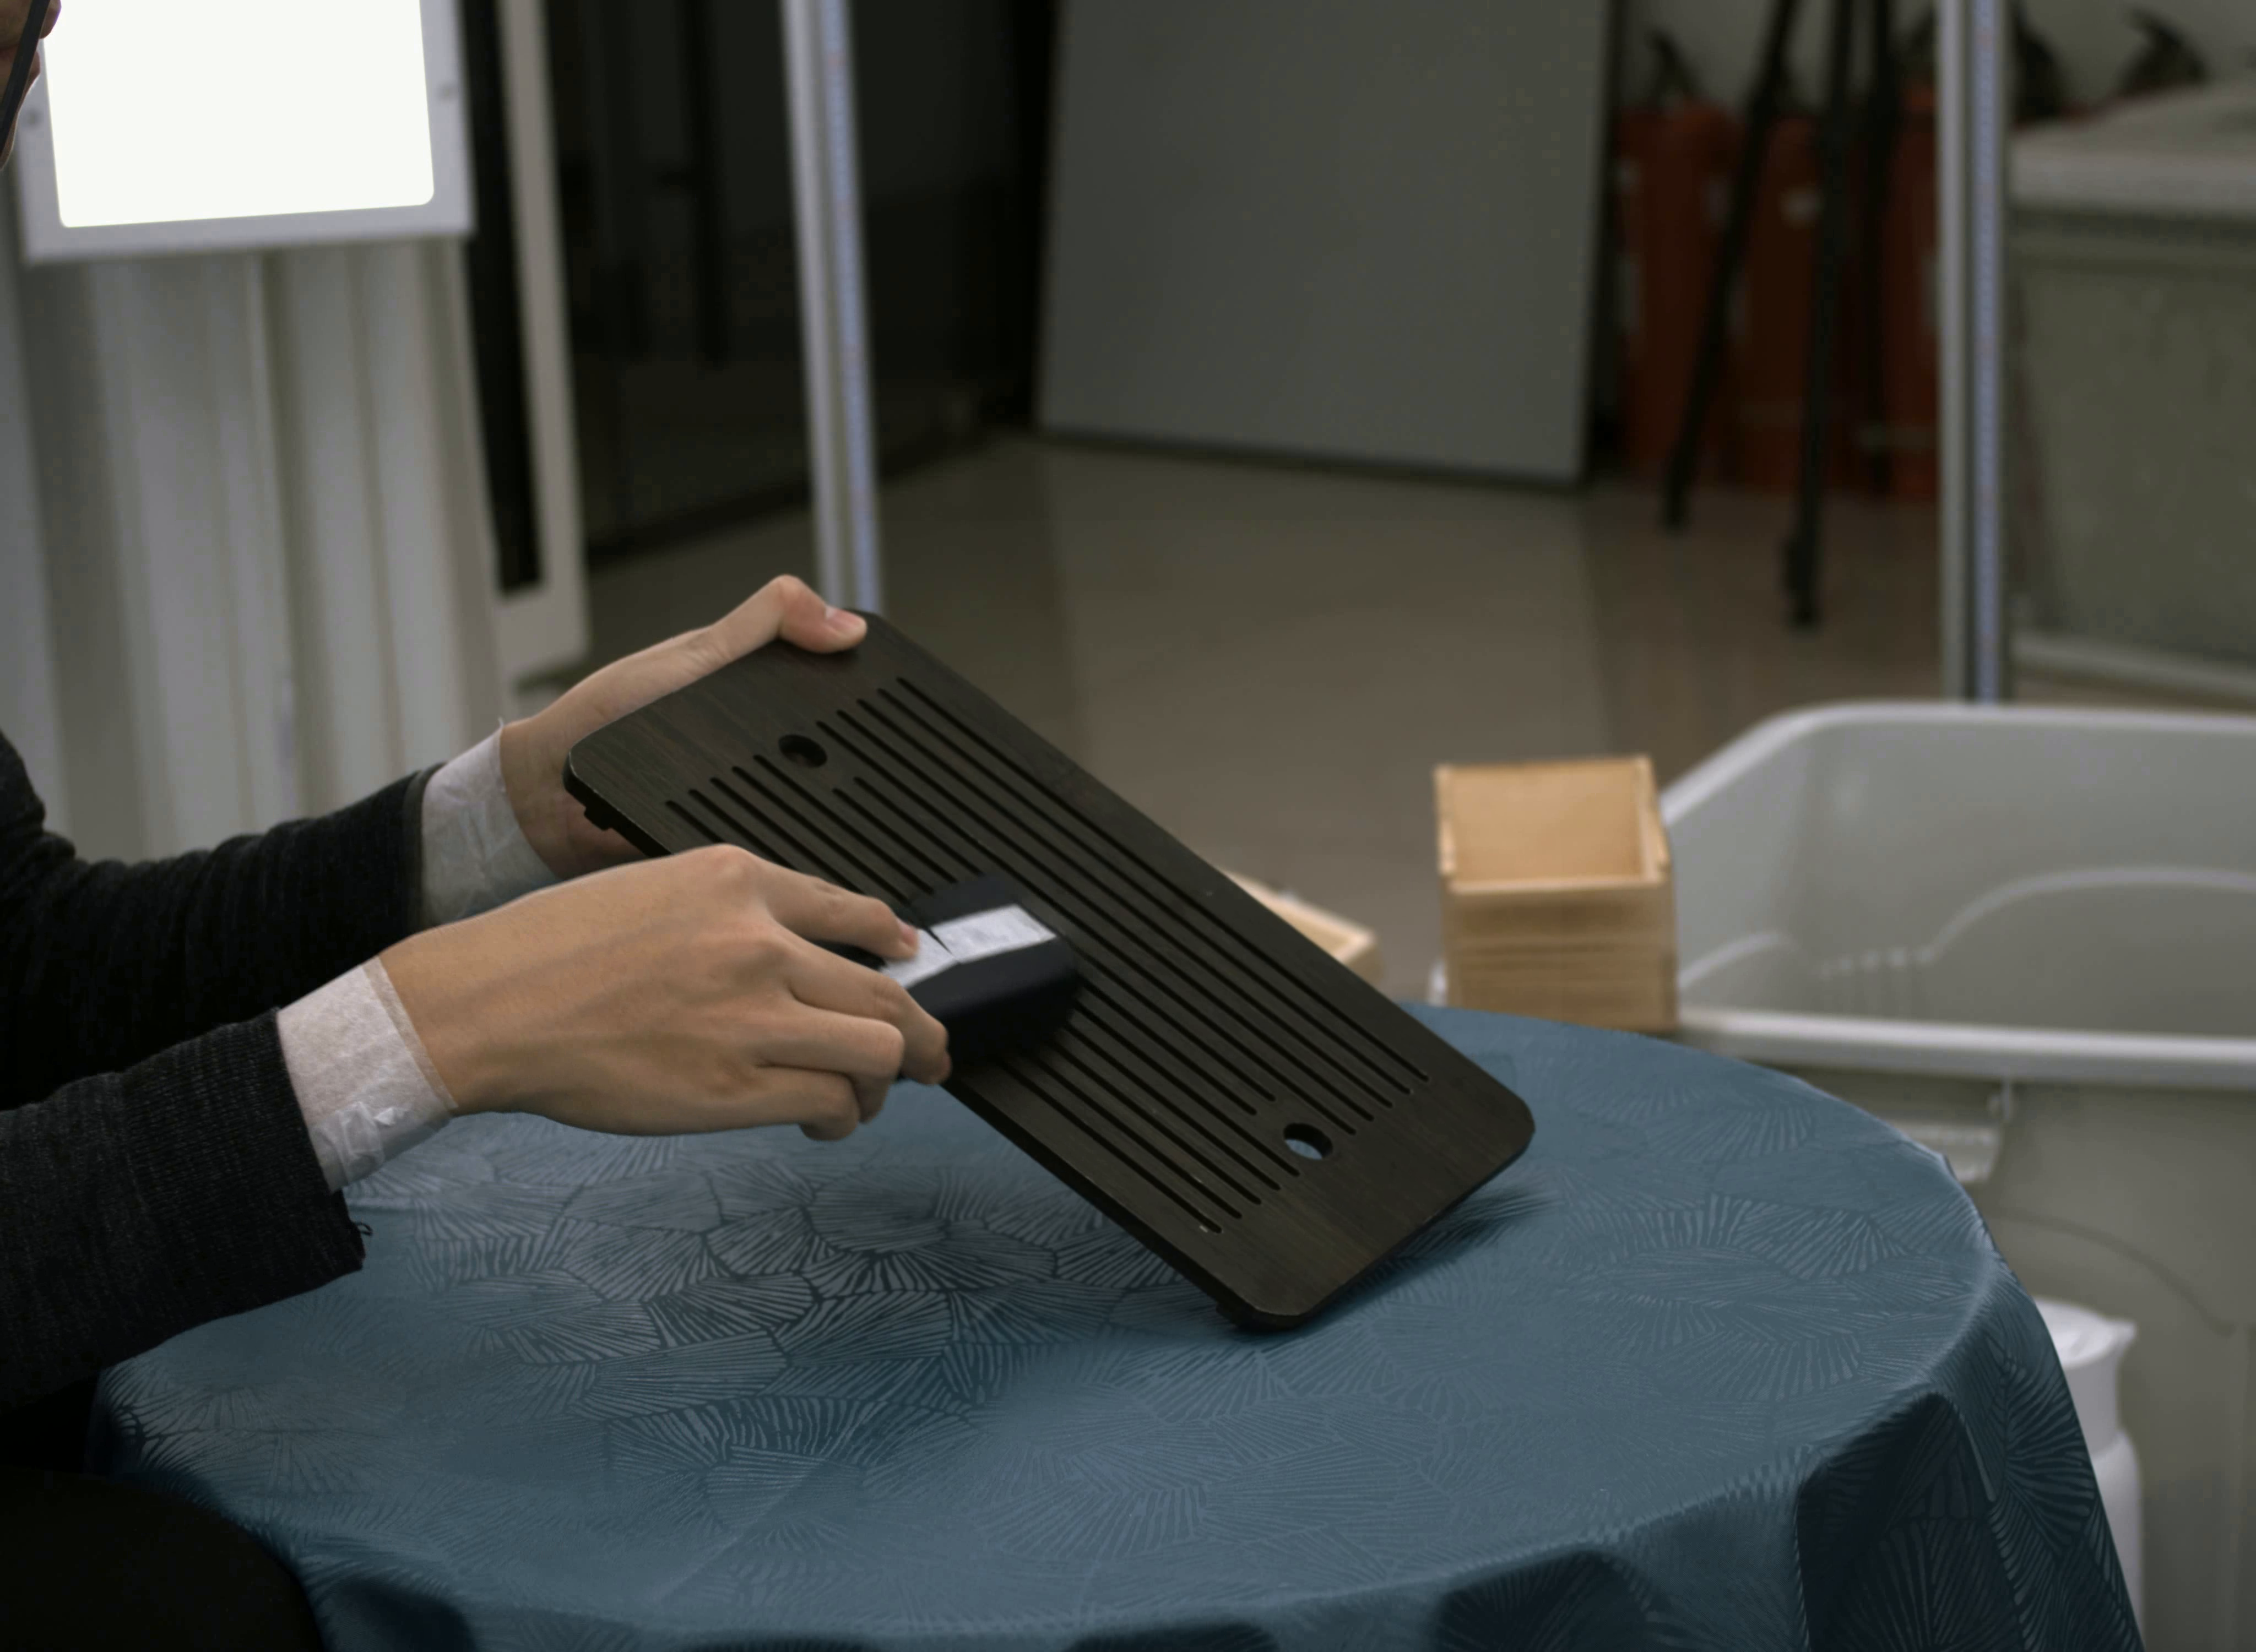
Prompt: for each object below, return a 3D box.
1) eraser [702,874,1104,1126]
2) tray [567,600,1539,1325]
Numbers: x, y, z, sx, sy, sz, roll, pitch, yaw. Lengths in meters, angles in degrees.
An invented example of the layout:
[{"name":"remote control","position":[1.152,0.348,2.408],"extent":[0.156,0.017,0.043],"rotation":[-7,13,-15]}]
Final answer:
[{"name":"eraser","position":[-0.068,0.052,1.657],"extent":[0.123,0.031,0.054],"rotation":[-18,50,-42]},{"name":"tray","position":[-0.024,0.040,1.735],"extent":[0.307,0.019,0.167],"rotation":[37,37,19]}]
